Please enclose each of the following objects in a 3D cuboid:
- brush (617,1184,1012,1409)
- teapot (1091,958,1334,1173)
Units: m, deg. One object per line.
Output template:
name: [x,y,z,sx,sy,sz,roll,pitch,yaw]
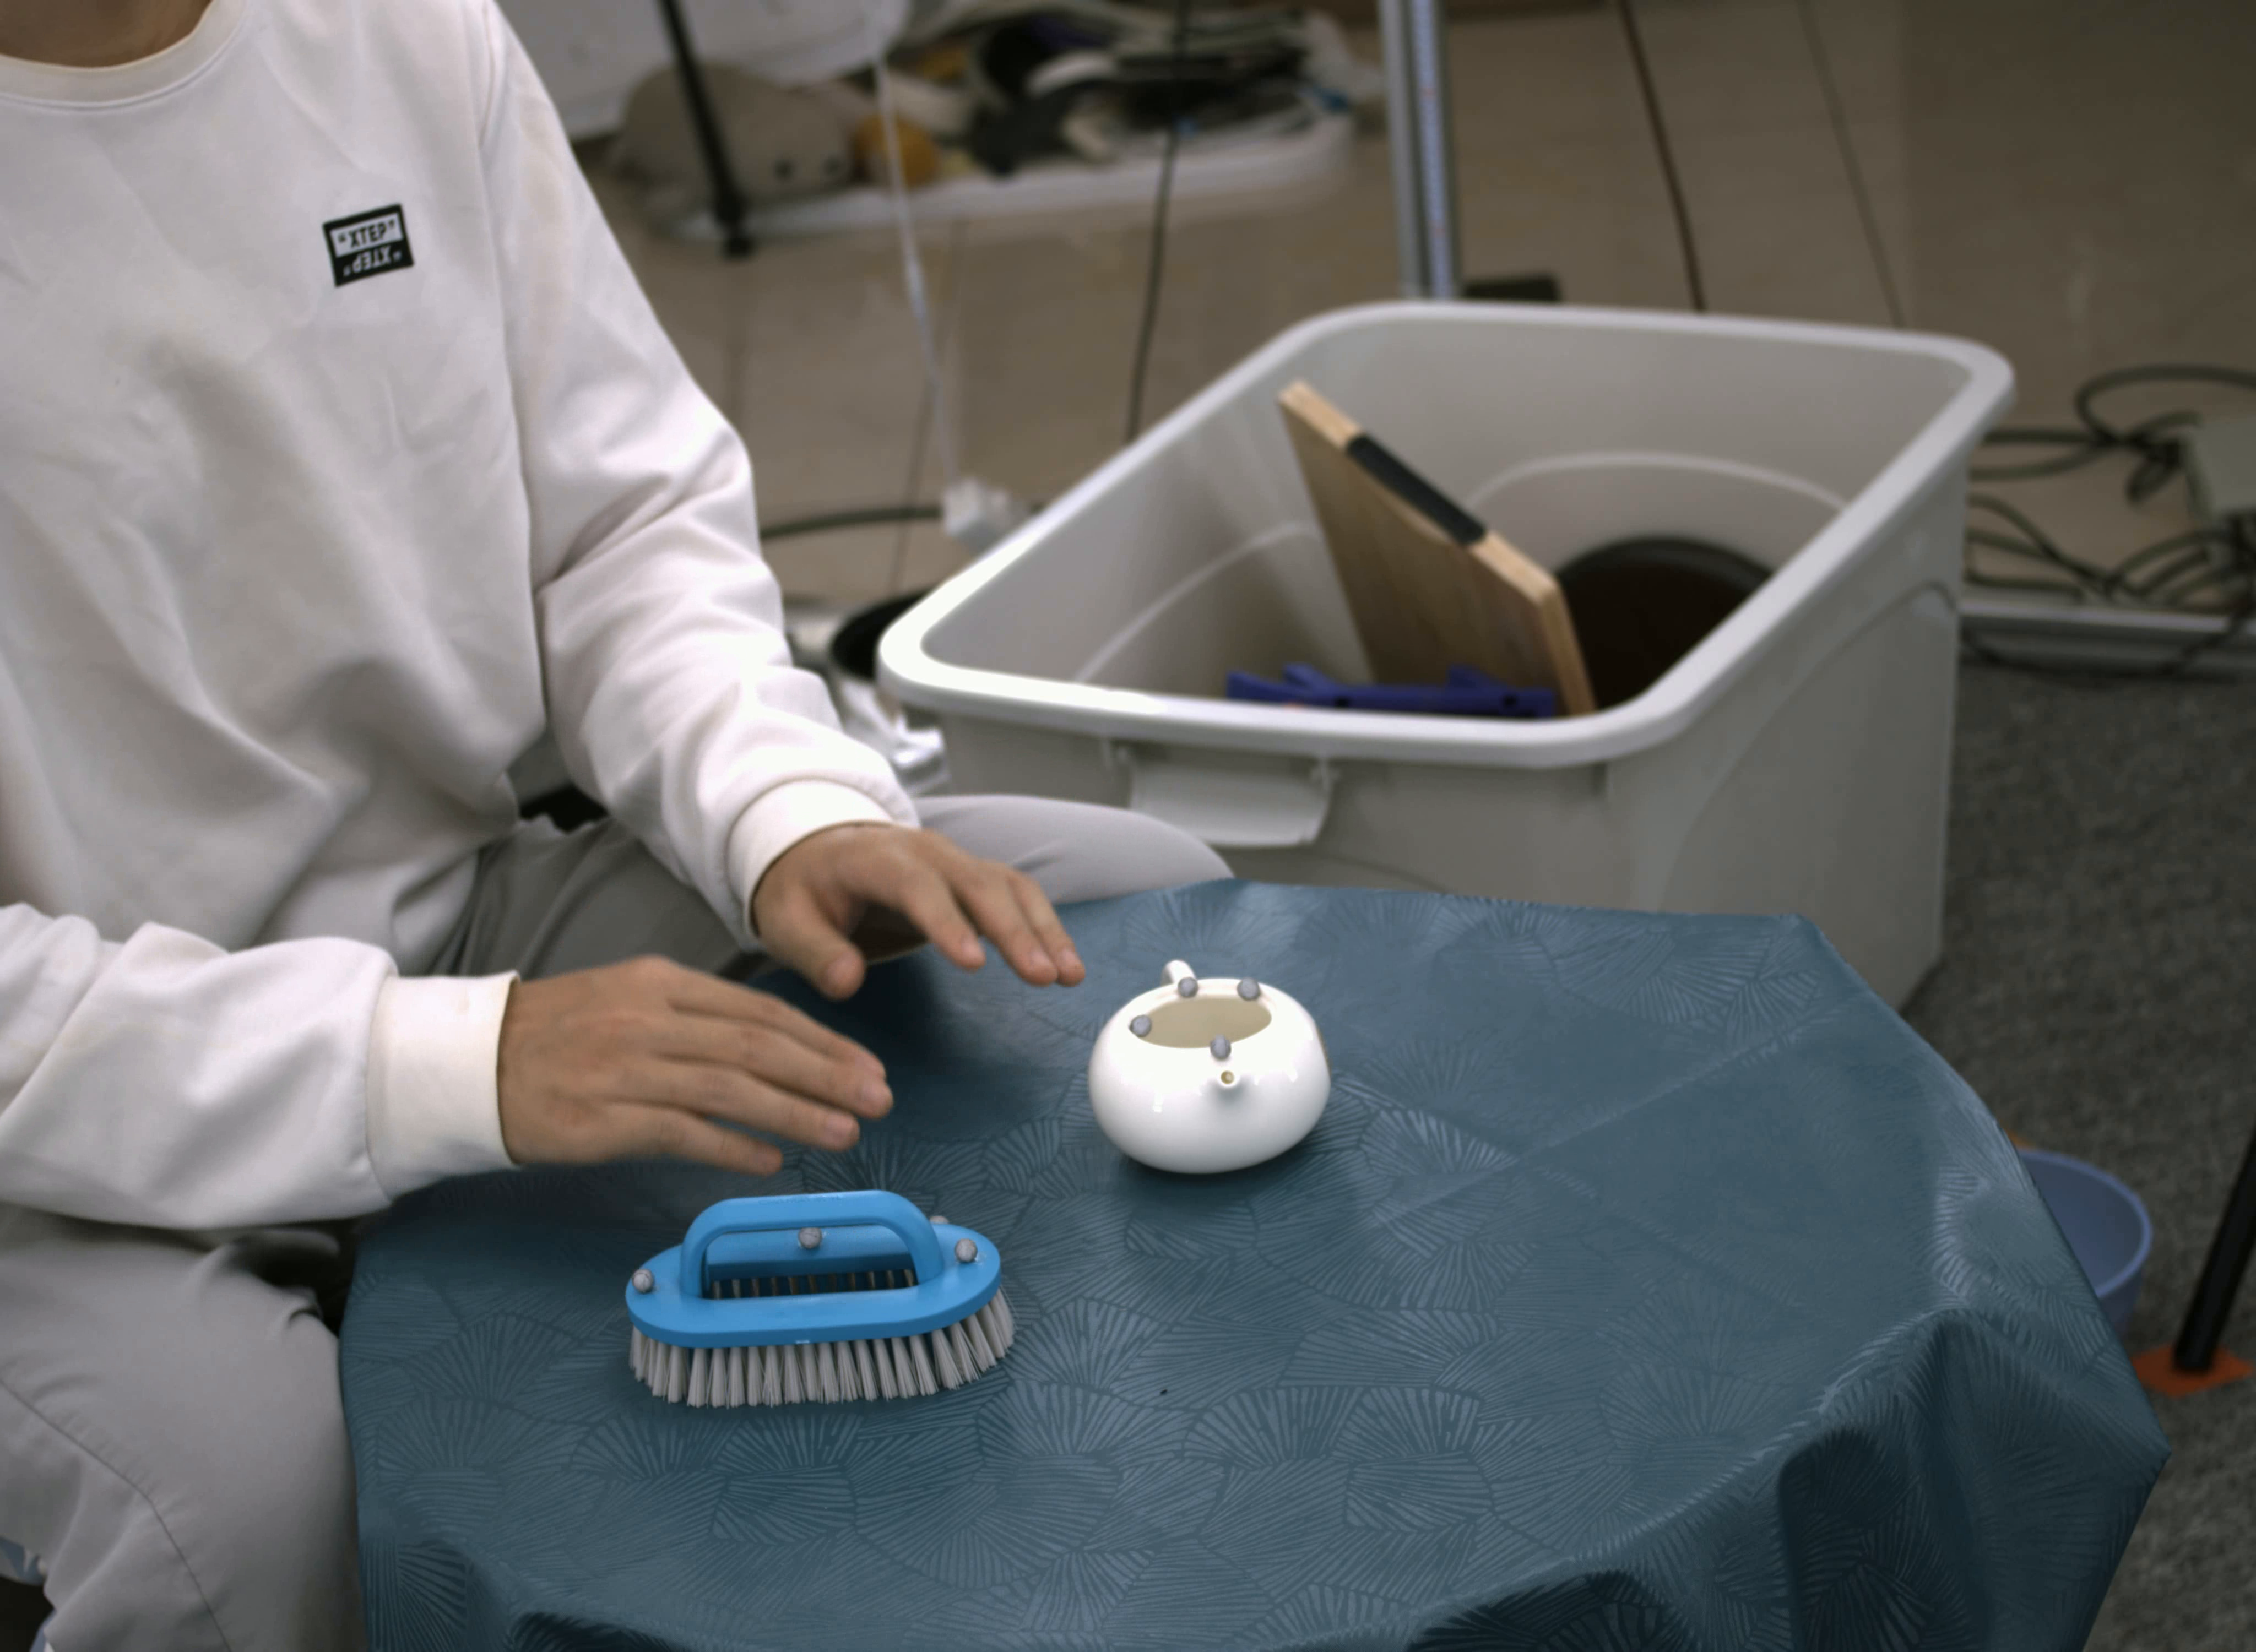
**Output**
brush: [-0.116,0.161,2.048,0.141,0.065,0.083,-4,30,8]
teapot: [0.029,0.091,2.177,0.093,0.057,0.125,-15,25,-10]
